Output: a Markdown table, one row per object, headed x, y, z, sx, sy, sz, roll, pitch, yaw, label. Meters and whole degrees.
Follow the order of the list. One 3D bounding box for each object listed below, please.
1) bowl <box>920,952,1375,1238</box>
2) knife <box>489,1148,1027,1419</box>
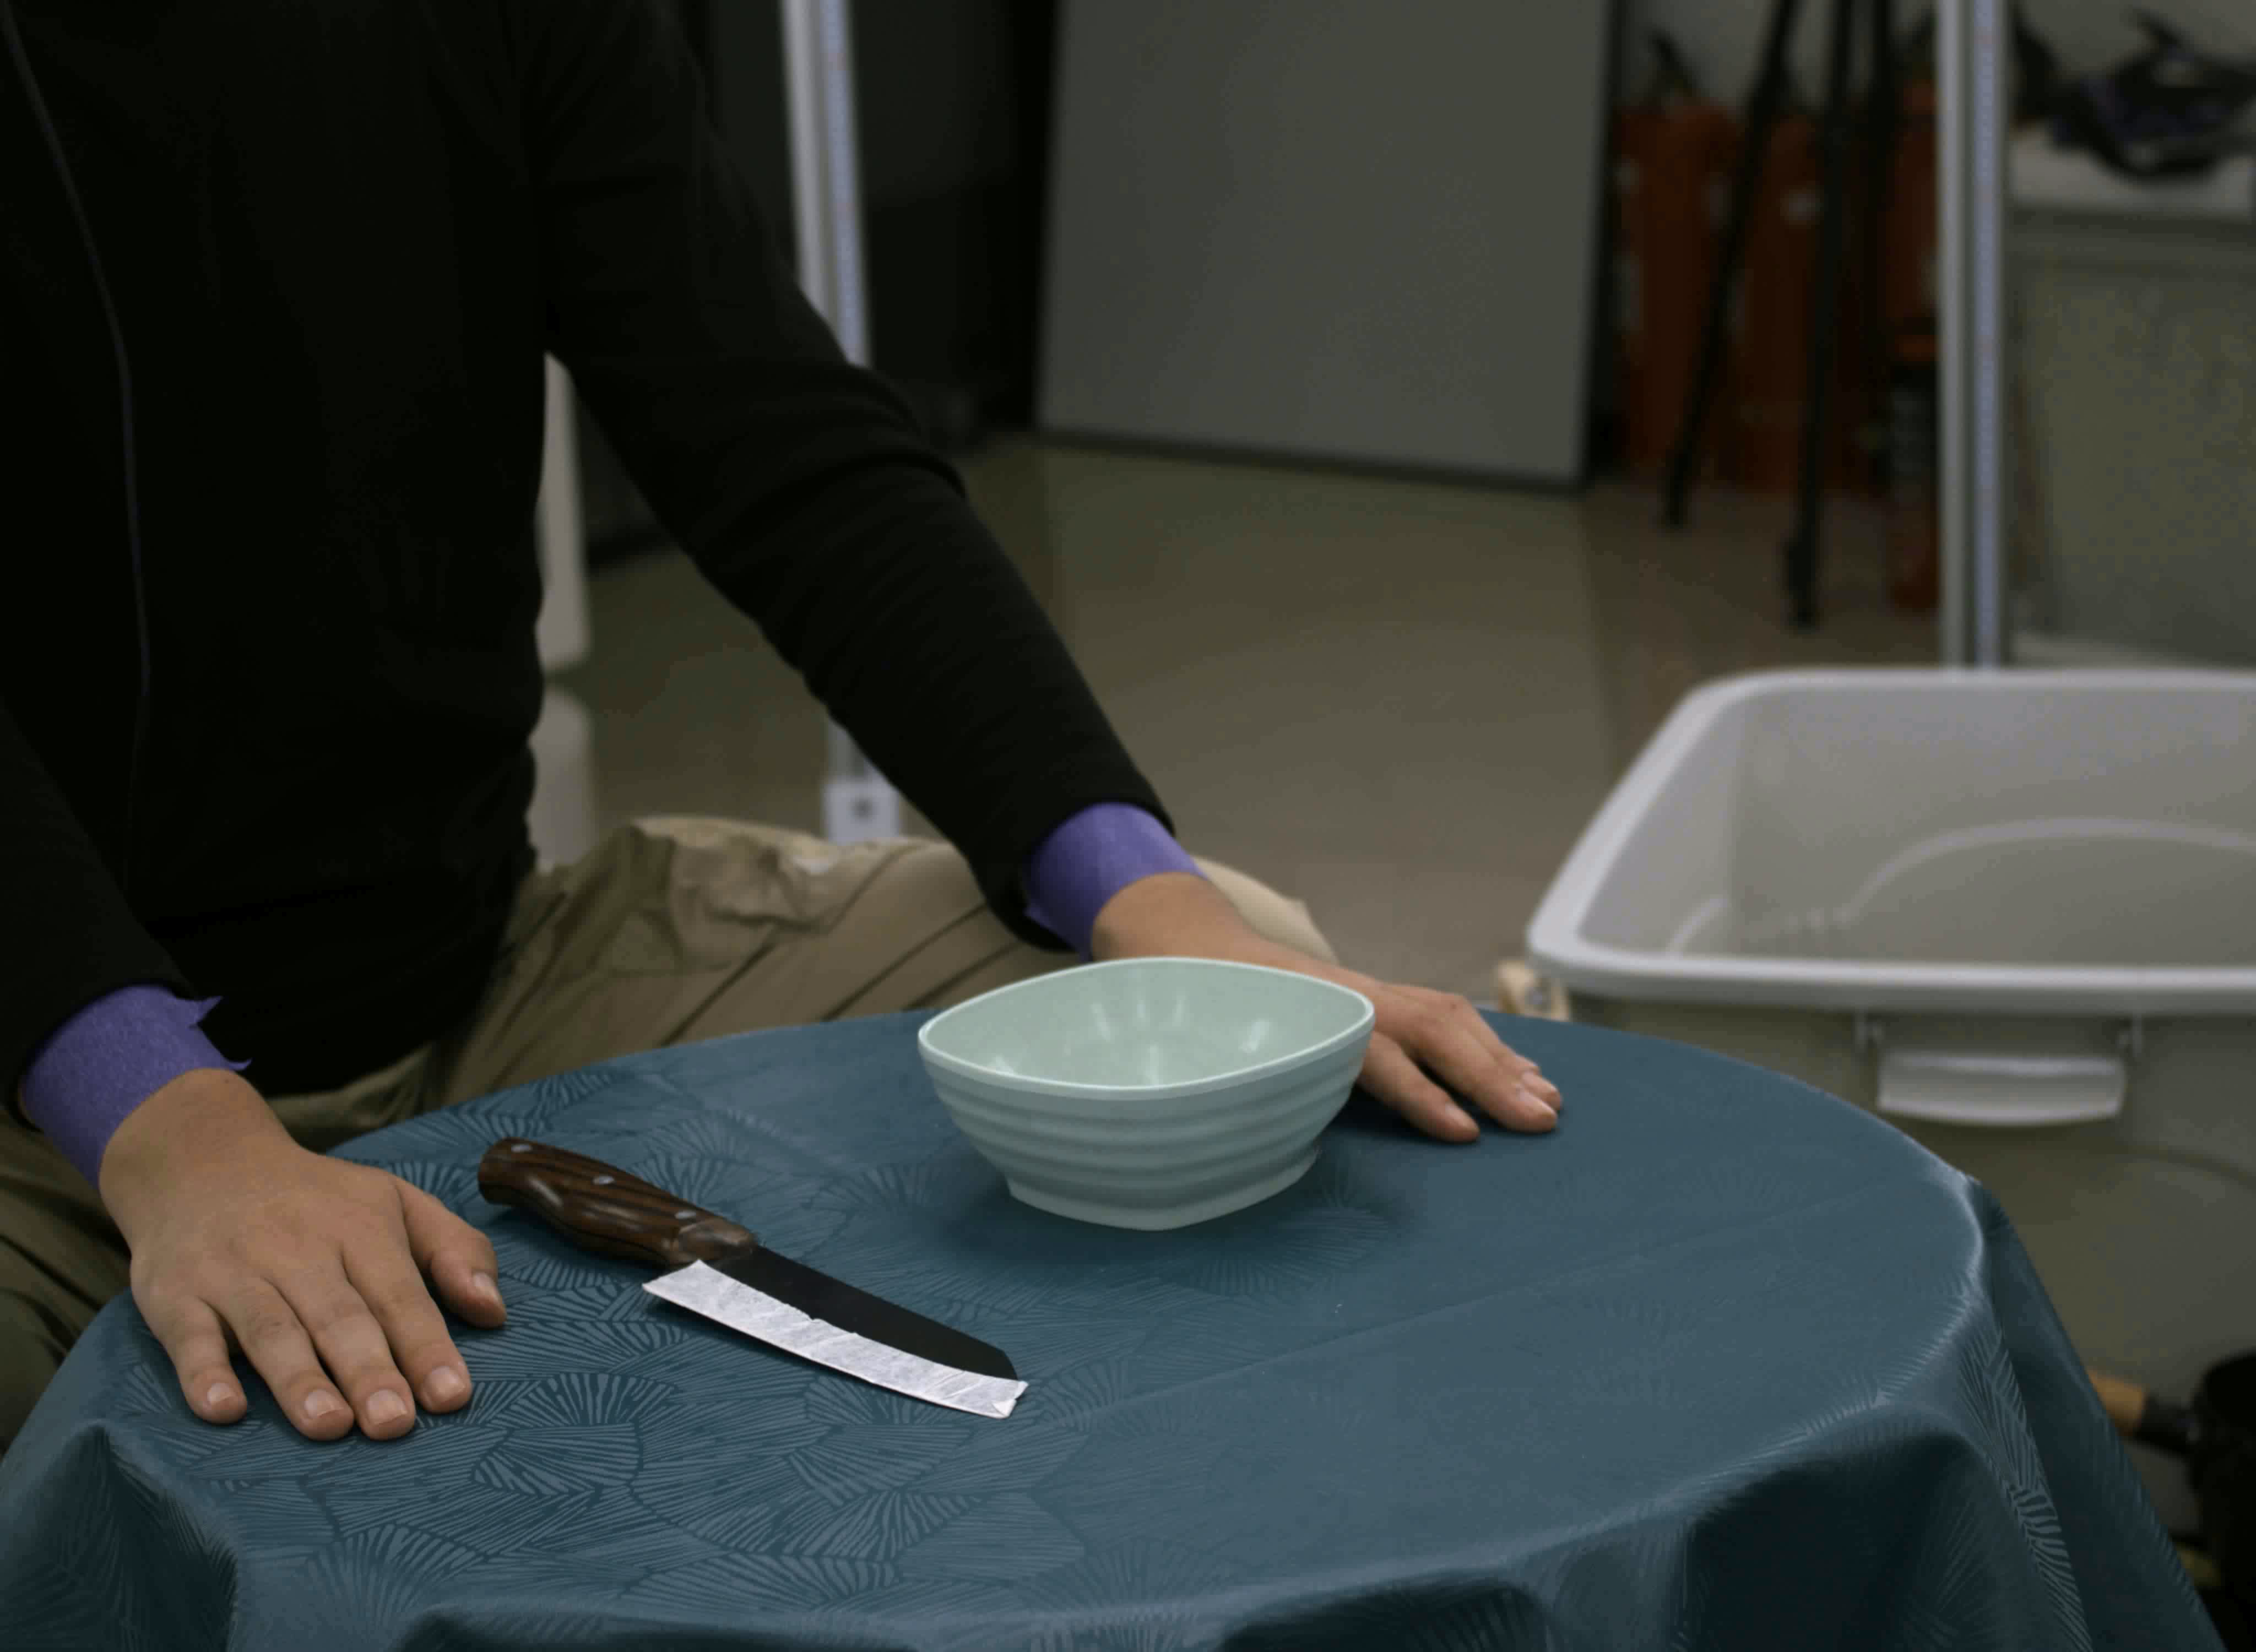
| x | y | z | sx | sy | sz | roll | pitch | yaw | label |
| --- | --- | --- | --- | --- | --- | --- | --- | --- | --- |
| 0.008 | 0.091 | 1.773 | 0.149 | 0.059 | 0.152 | -3 | 16 | 0 | bowl |
| -0.119 | 0.144 | 1.689 | 0.049 | 0.020 | 0.292 | -19 | 22 | -33 | knife |
